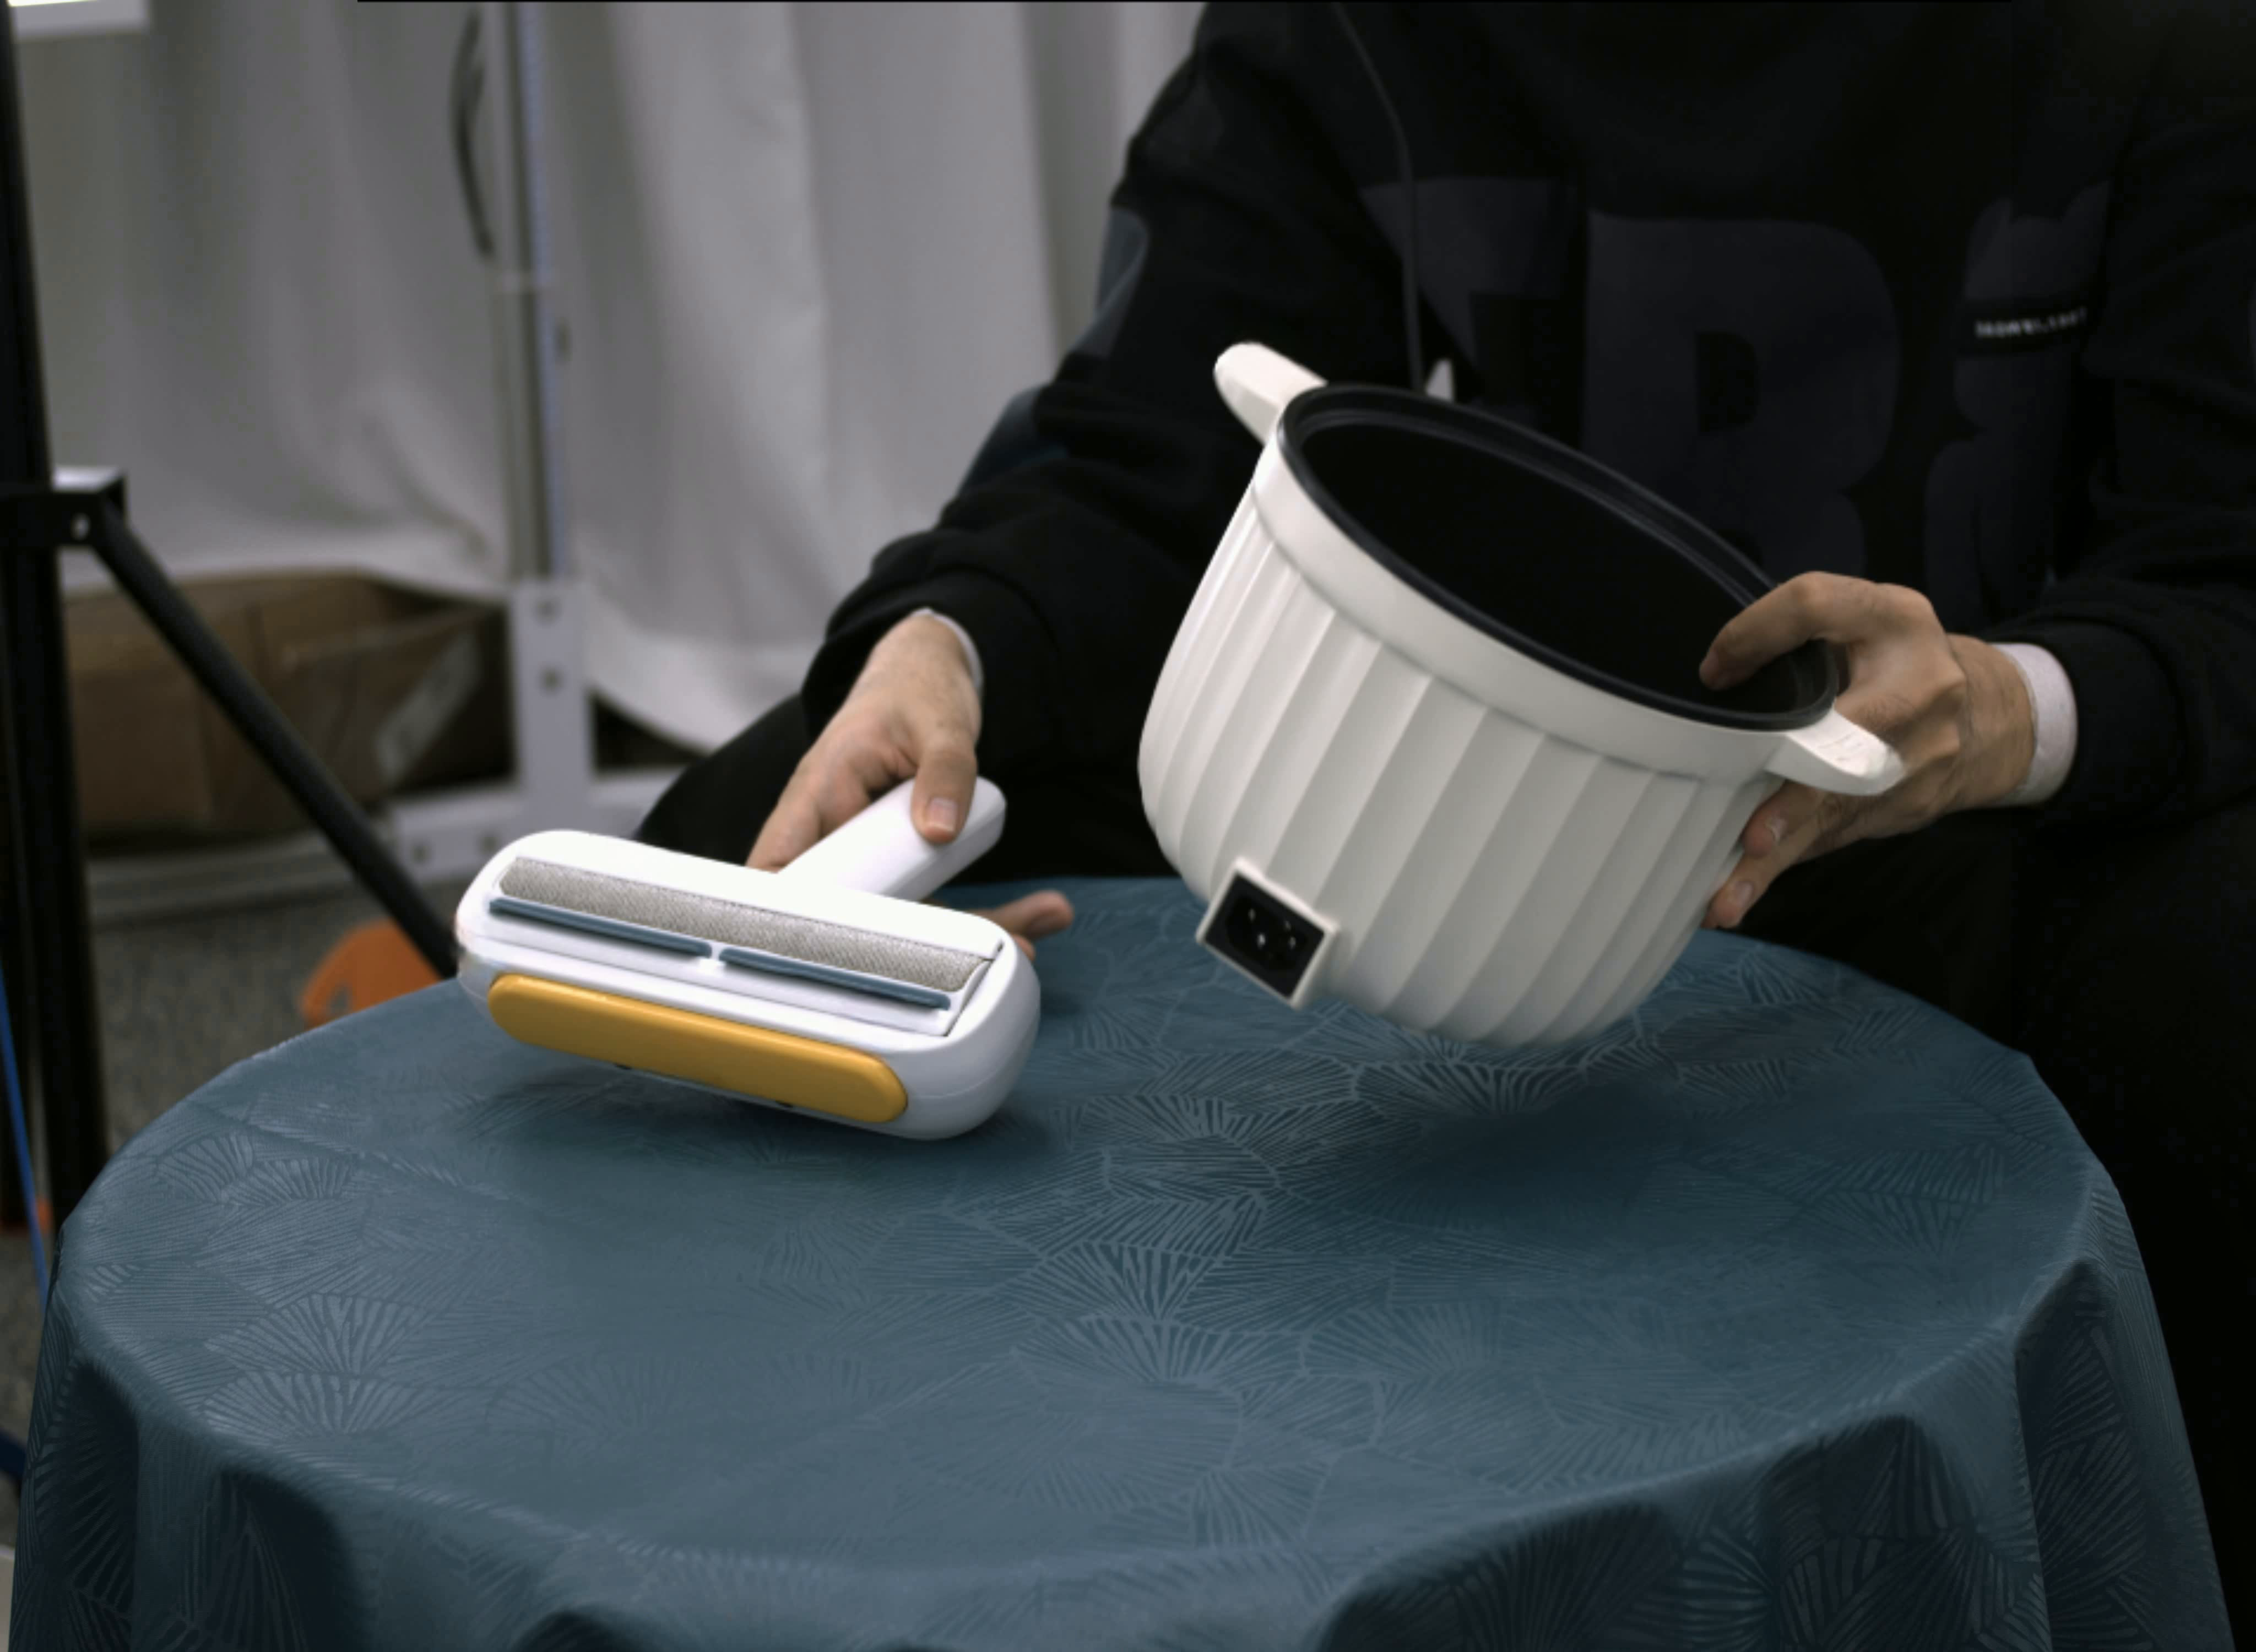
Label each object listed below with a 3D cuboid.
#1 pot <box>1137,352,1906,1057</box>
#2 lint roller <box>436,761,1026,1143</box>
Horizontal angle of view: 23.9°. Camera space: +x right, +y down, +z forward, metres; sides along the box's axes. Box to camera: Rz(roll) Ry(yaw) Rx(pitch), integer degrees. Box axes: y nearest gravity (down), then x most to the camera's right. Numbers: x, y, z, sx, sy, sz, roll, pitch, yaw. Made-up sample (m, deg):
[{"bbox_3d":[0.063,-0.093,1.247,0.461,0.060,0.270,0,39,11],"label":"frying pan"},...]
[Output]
[{"bbox_3d":[0.099,-0.026,1.567,0.243,0.143,0.187,35,27,17],"label":"pot"},{"bbox_3d":[-0.096,0.022,1.691,0.196,0.073,0.190,10,39,30],"label":"lint roller"}]
